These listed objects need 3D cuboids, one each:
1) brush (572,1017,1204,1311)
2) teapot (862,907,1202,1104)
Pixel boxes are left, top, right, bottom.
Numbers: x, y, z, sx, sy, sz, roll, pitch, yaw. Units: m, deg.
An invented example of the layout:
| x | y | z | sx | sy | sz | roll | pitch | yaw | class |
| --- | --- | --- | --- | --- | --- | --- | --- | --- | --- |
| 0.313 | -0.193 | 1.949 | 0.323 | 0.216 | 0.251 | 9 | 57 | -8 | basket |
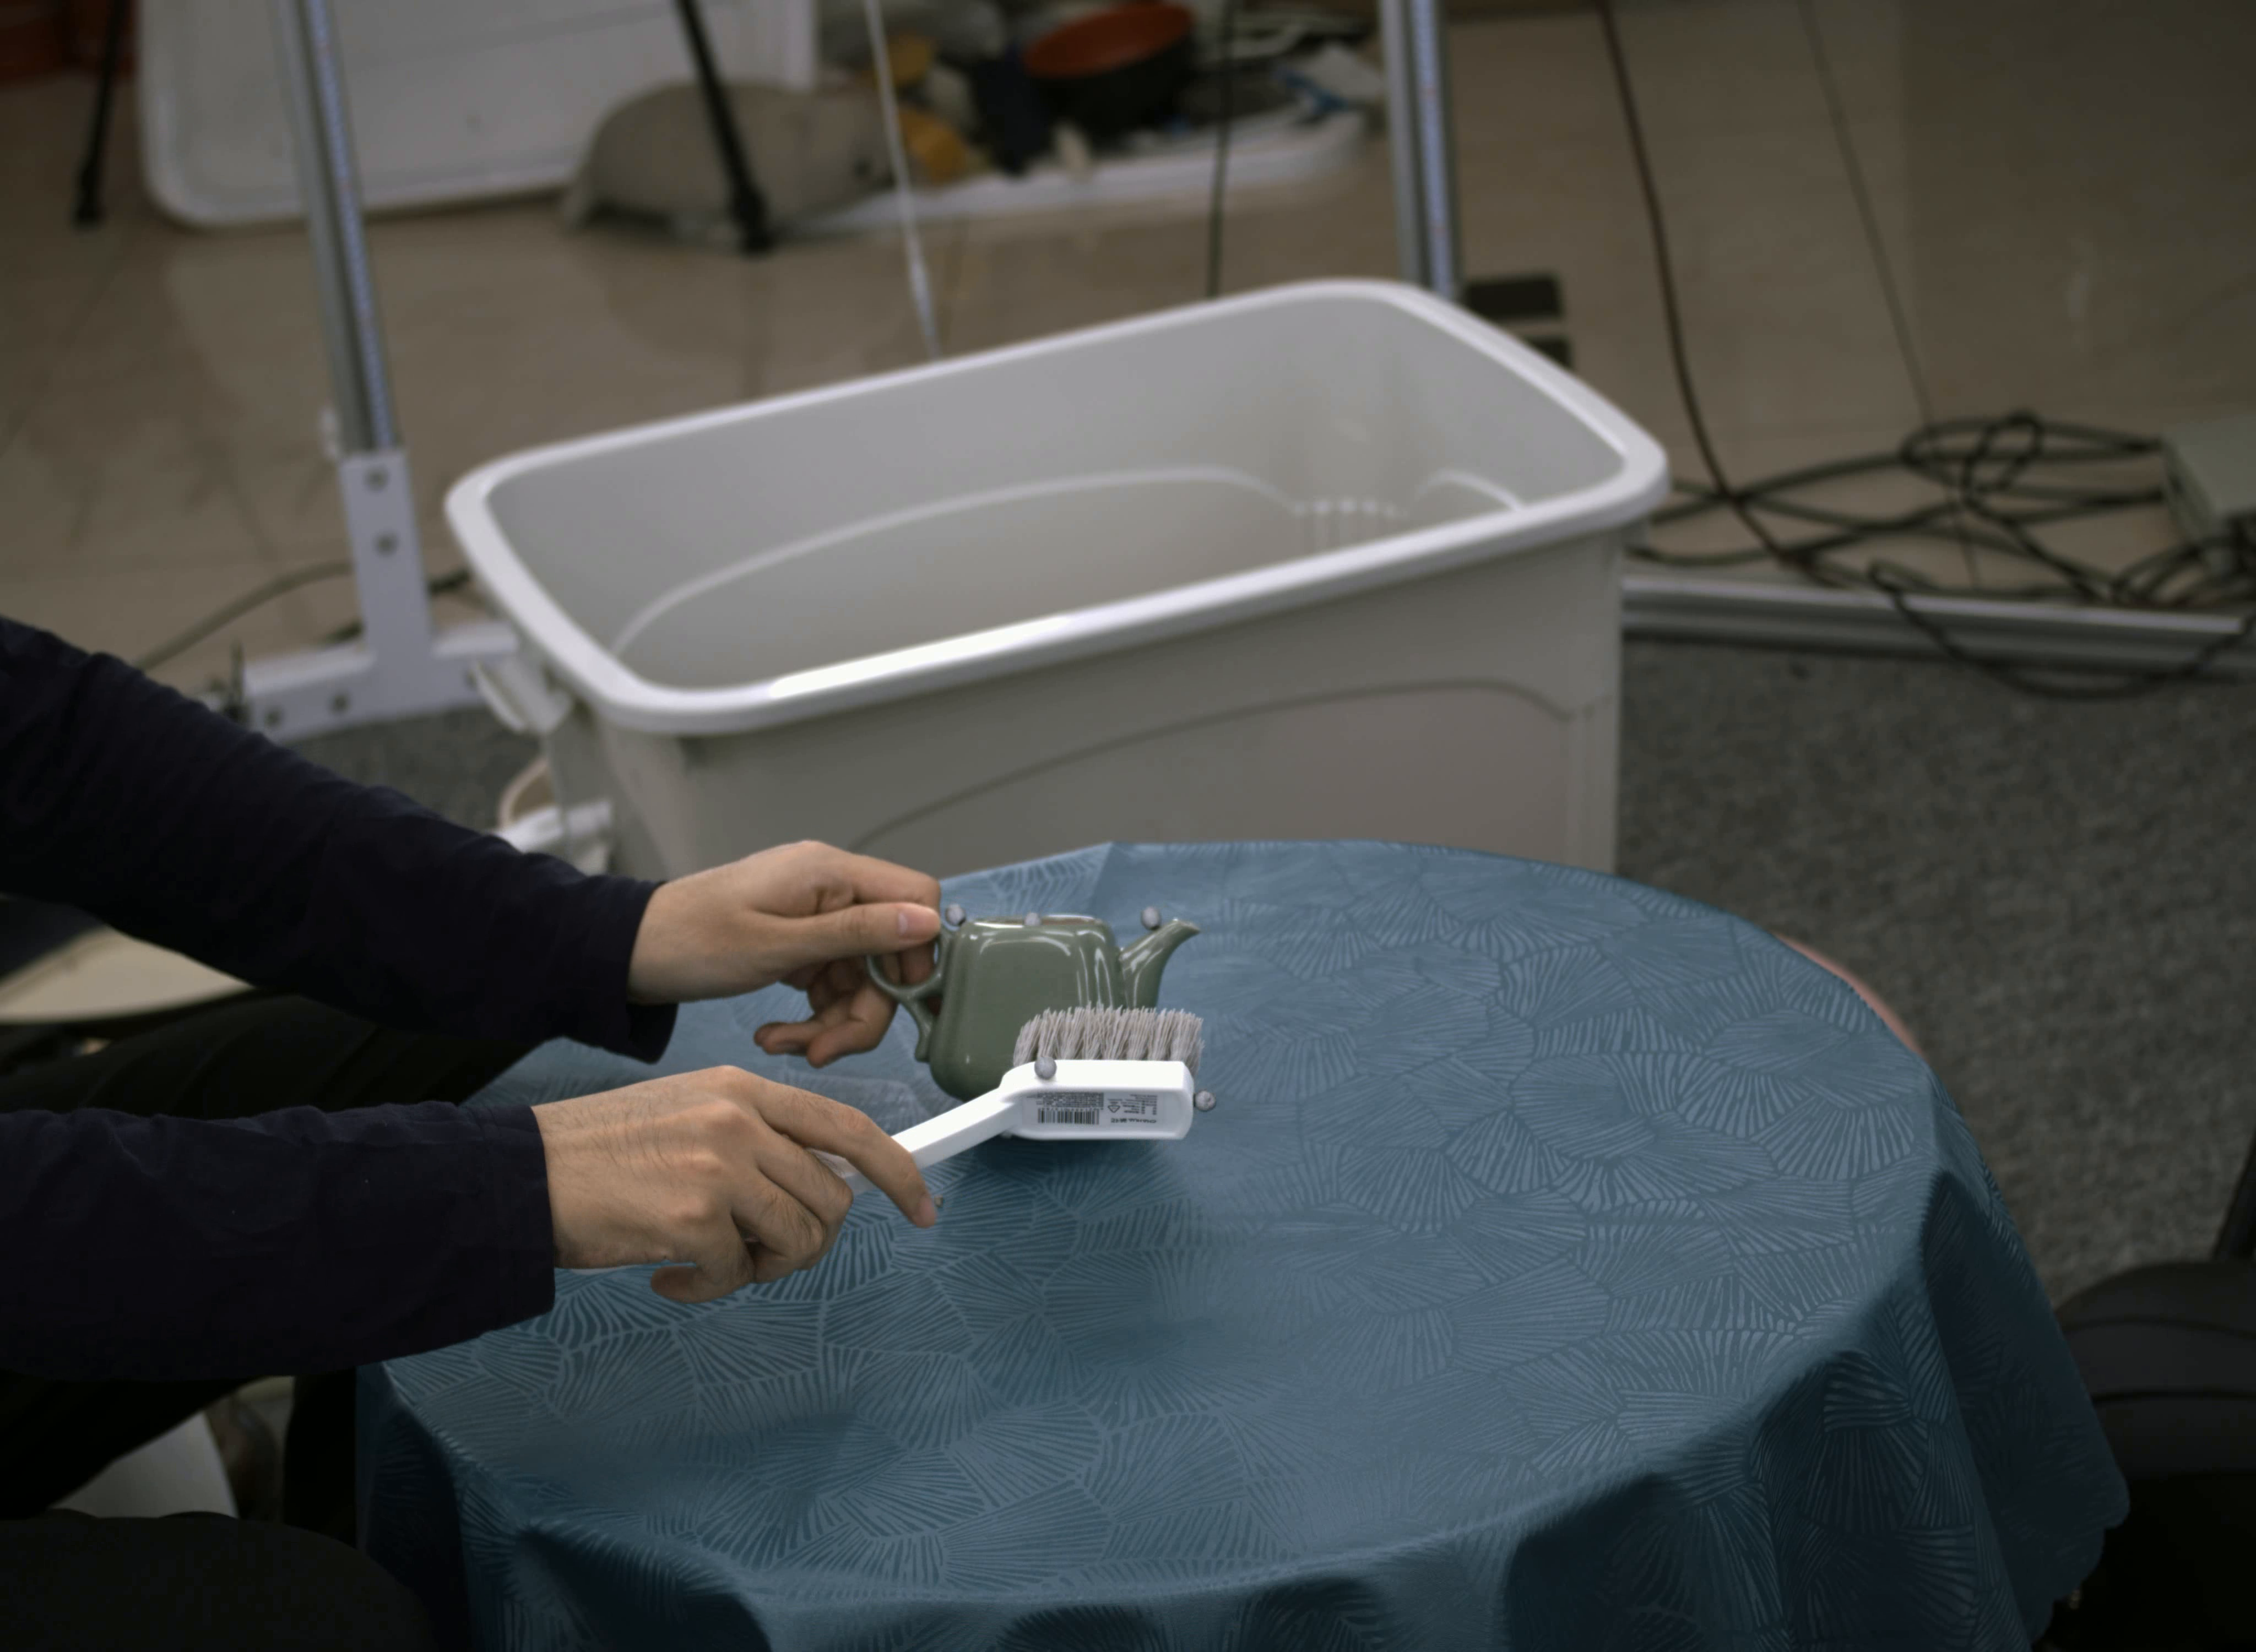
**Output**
| x | y | z | sx | sy | sz | roll | pitch | yaw | class |
| --- | --- | --- | --- | --- | --- | --- | --- | --- | --- |
| -0.086 | 0.119 | 2.030 | 0.243 | 0.035 | 0.049 | -17 | 29 | -10 | brush |
| -0.037 | 0.069 | 2.200 | 0.132 | 0.075 | 0.079 | 0 | 3 | 2 | teapot |
